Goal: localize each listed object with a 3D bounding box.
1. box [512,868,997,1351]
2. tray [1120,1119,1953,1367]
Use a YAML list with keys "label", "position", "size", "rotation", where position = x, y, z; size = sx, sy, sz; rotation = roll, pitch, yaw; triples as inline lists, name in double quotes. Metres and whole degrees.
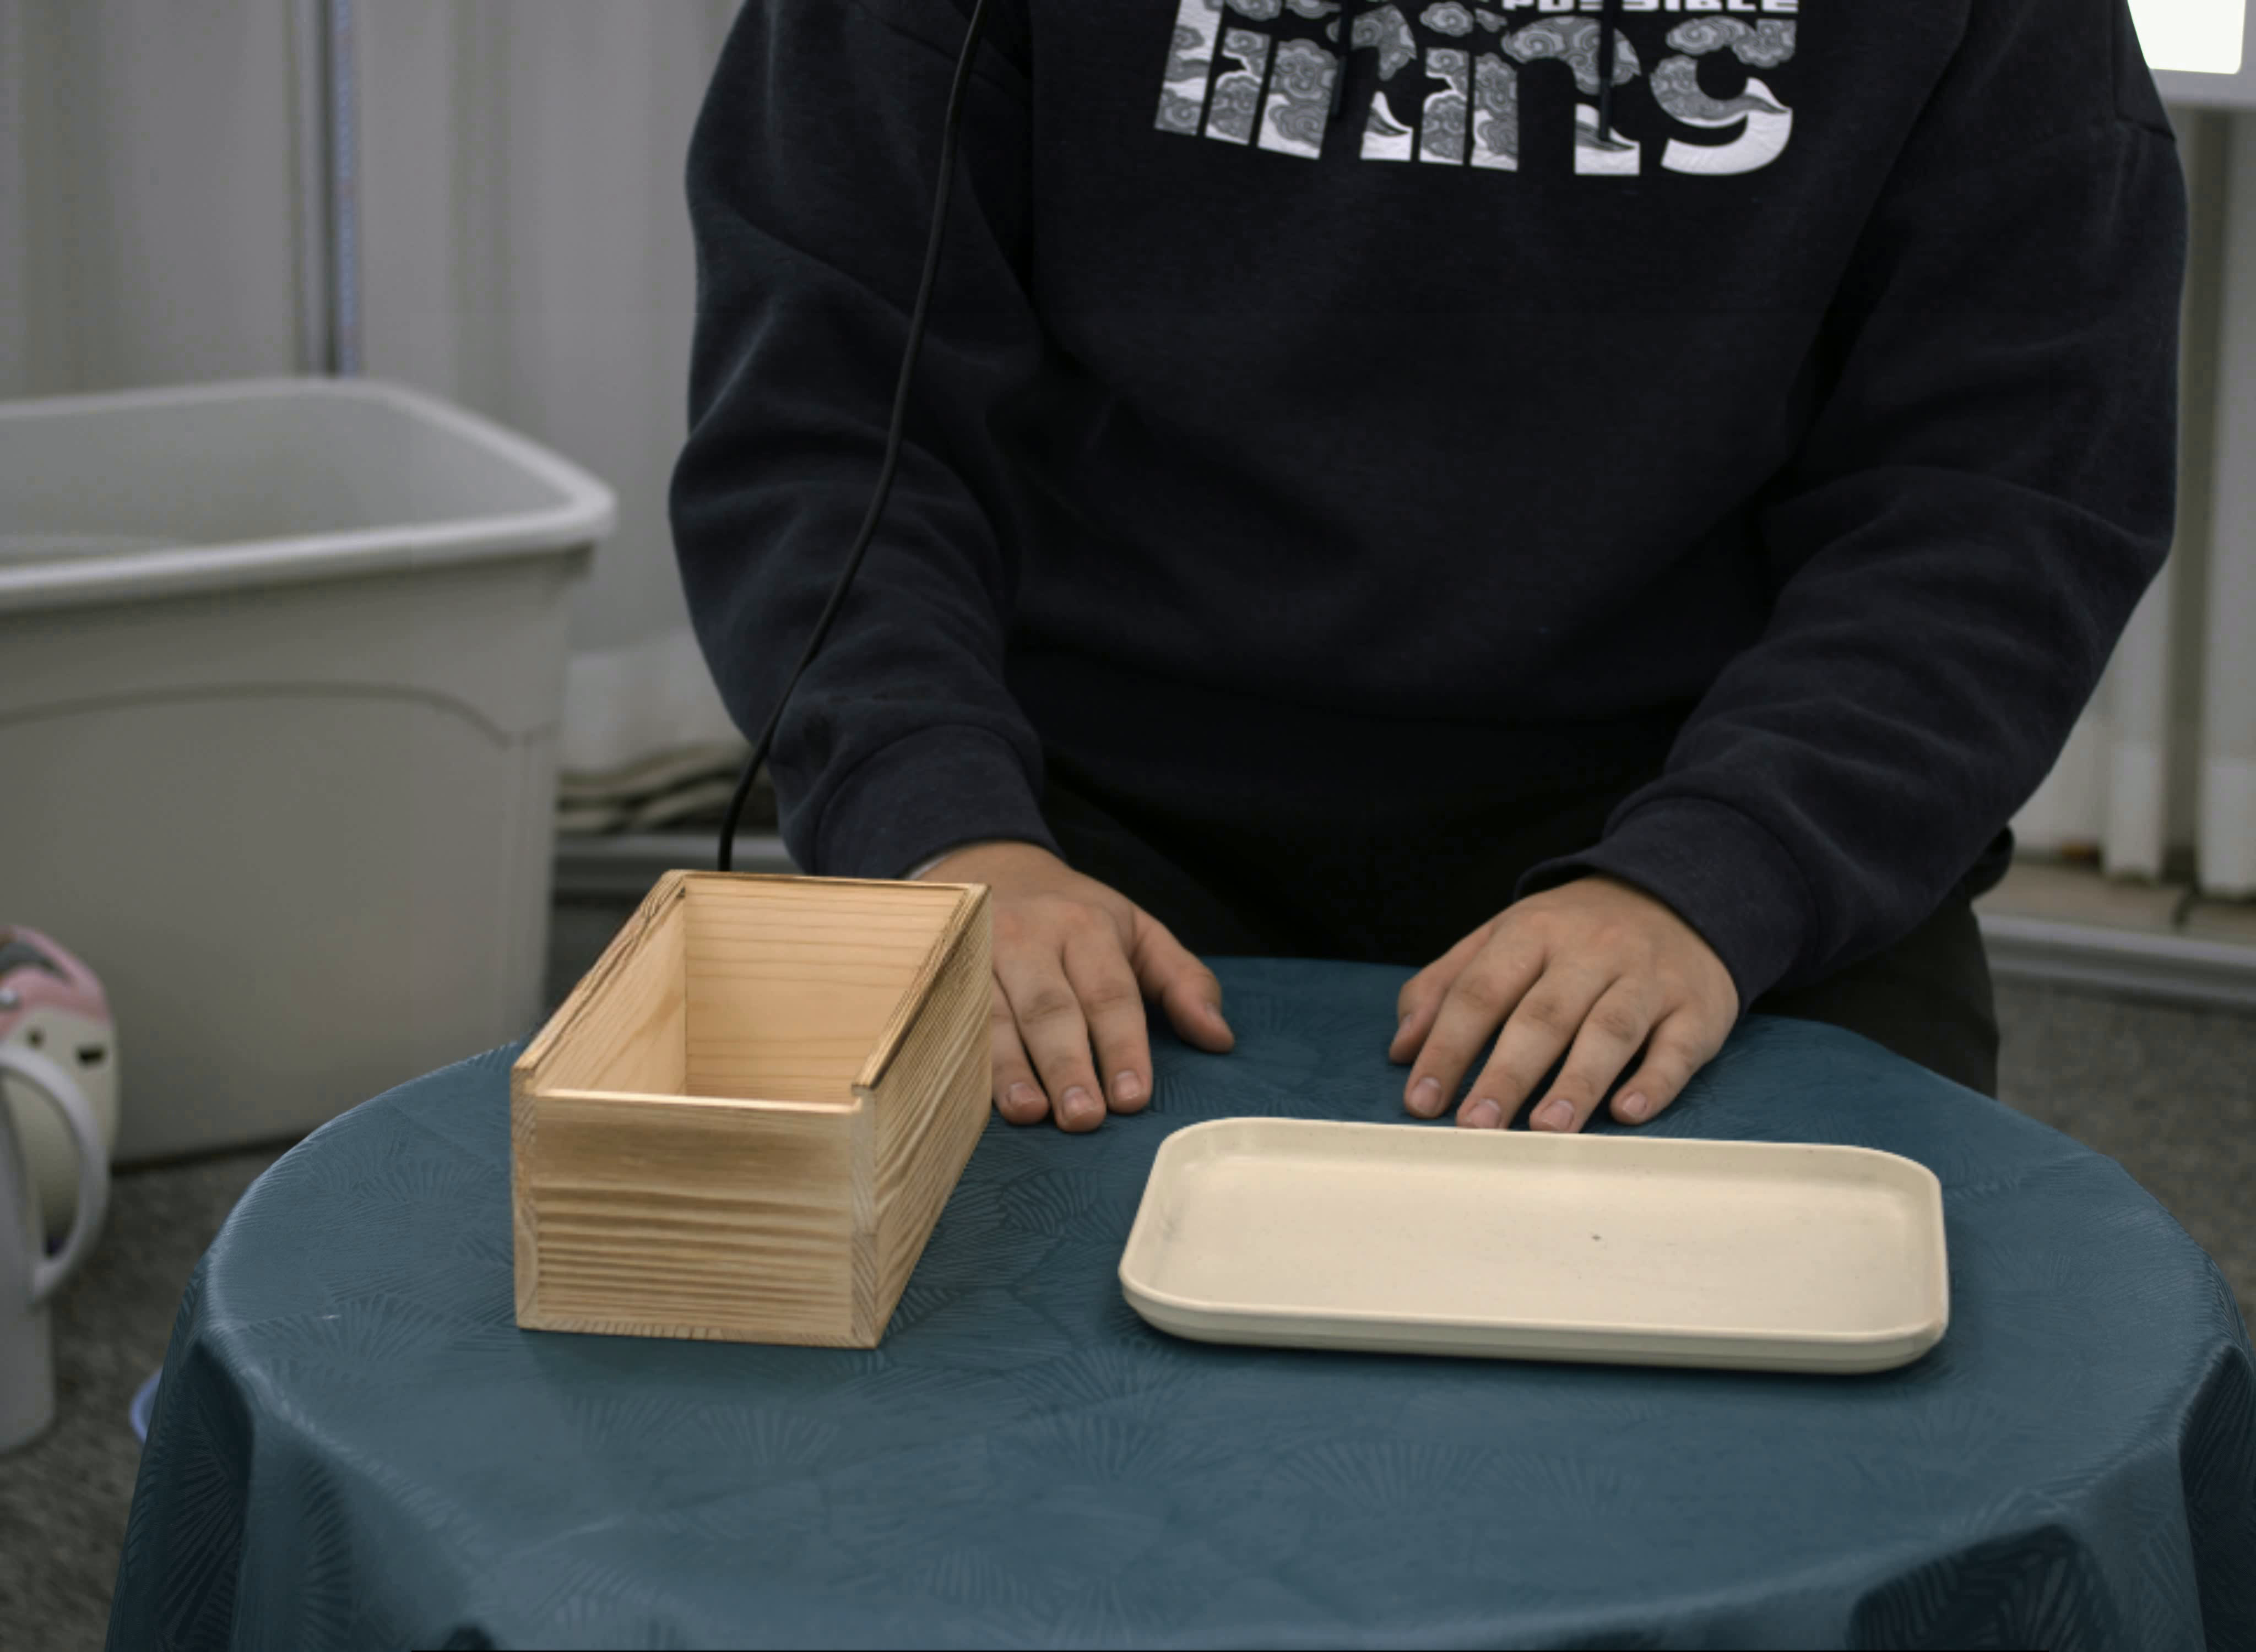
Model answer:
- label: "box"
  position: [-0.108, 0.081, 1.585]
  size: [0.107, 0.081, 0.211]
  rotation: [3, 15, 7]
- label: "tray"
  position: [0.122, 0.123, 1.560]
  size: [0.238, 0.017, 0.171]
  rotation: [2, 15, 5]
